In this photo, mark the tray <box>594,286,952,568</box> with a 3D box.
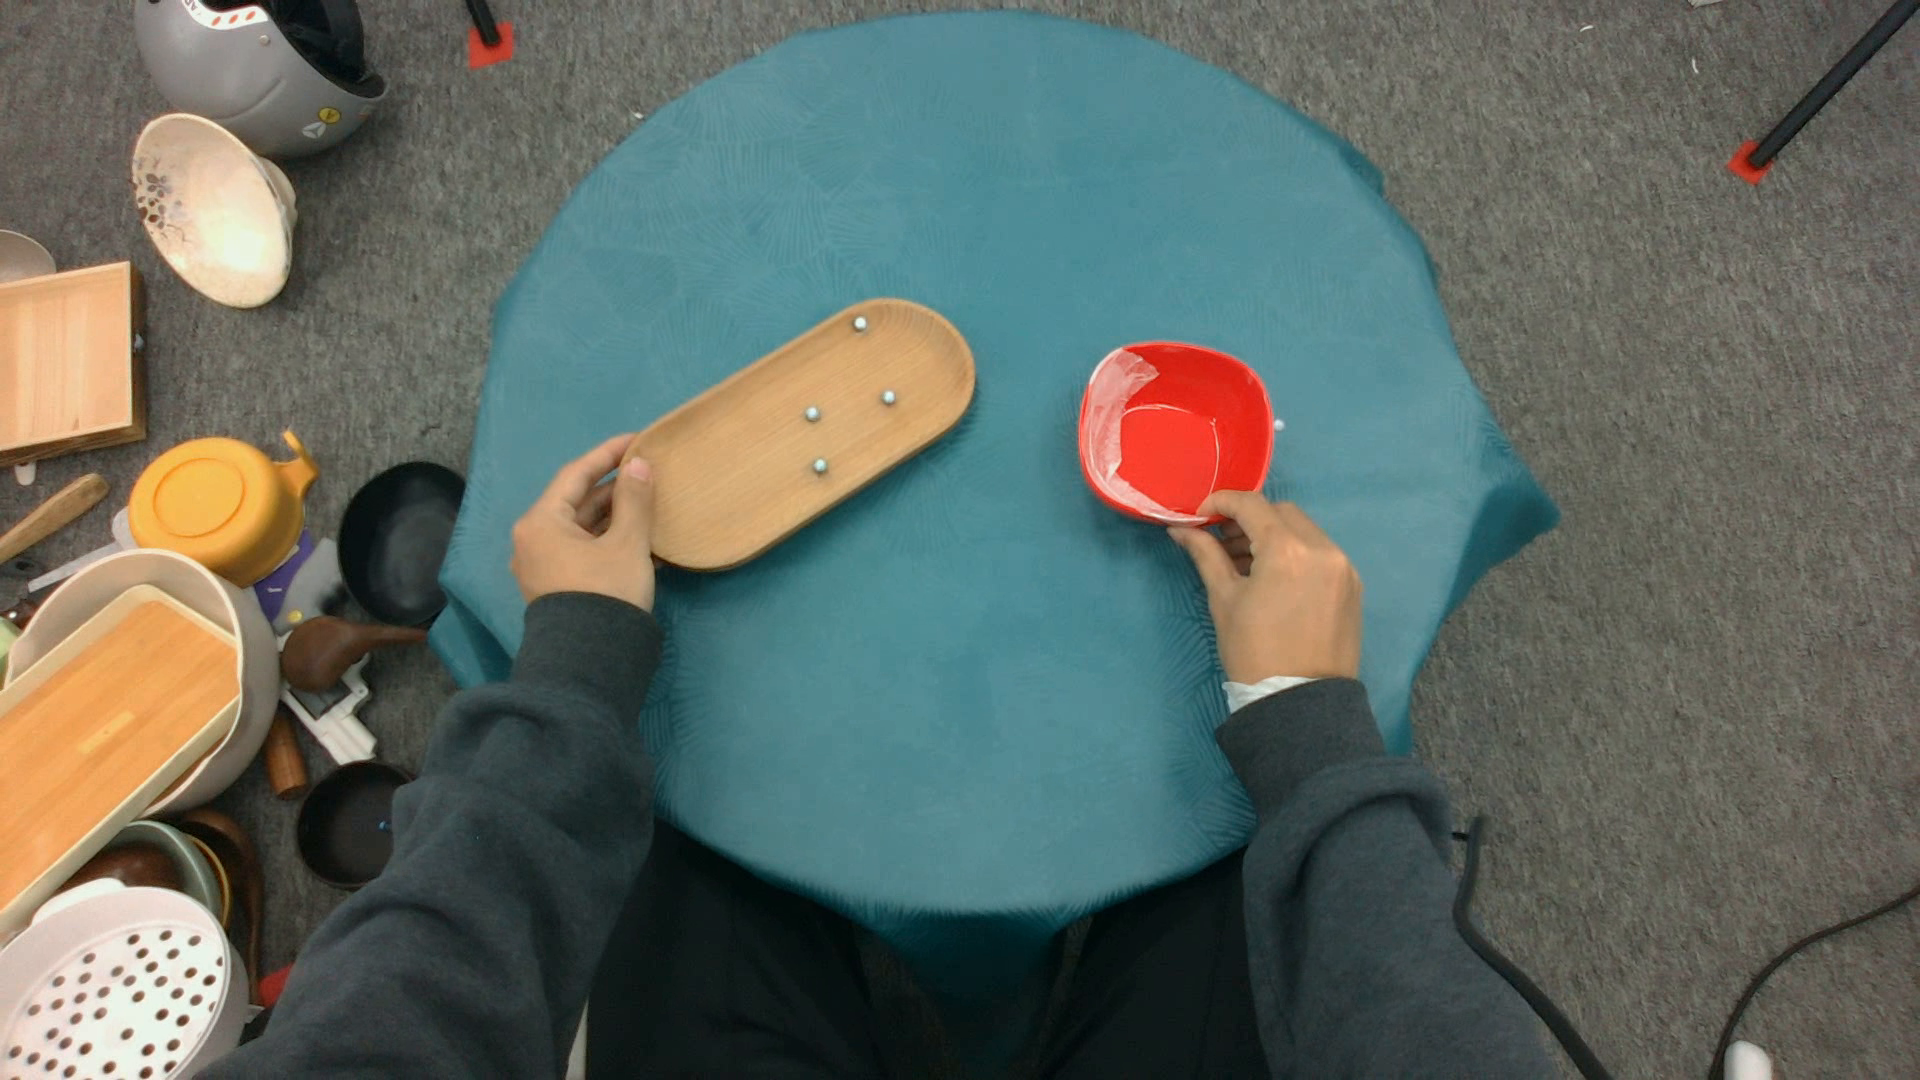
[{"bbox_3d":[-0.105,-0.068,0.802,0.232,0.020,0.102,-37,76,-18],"label":"tray"}]

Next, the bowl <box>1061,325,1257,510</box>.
[{"bbox_3d":[0.111,-0.063,0.795,0.119,0.051,0.119,1,70,-3],"label":"bowl"}]
